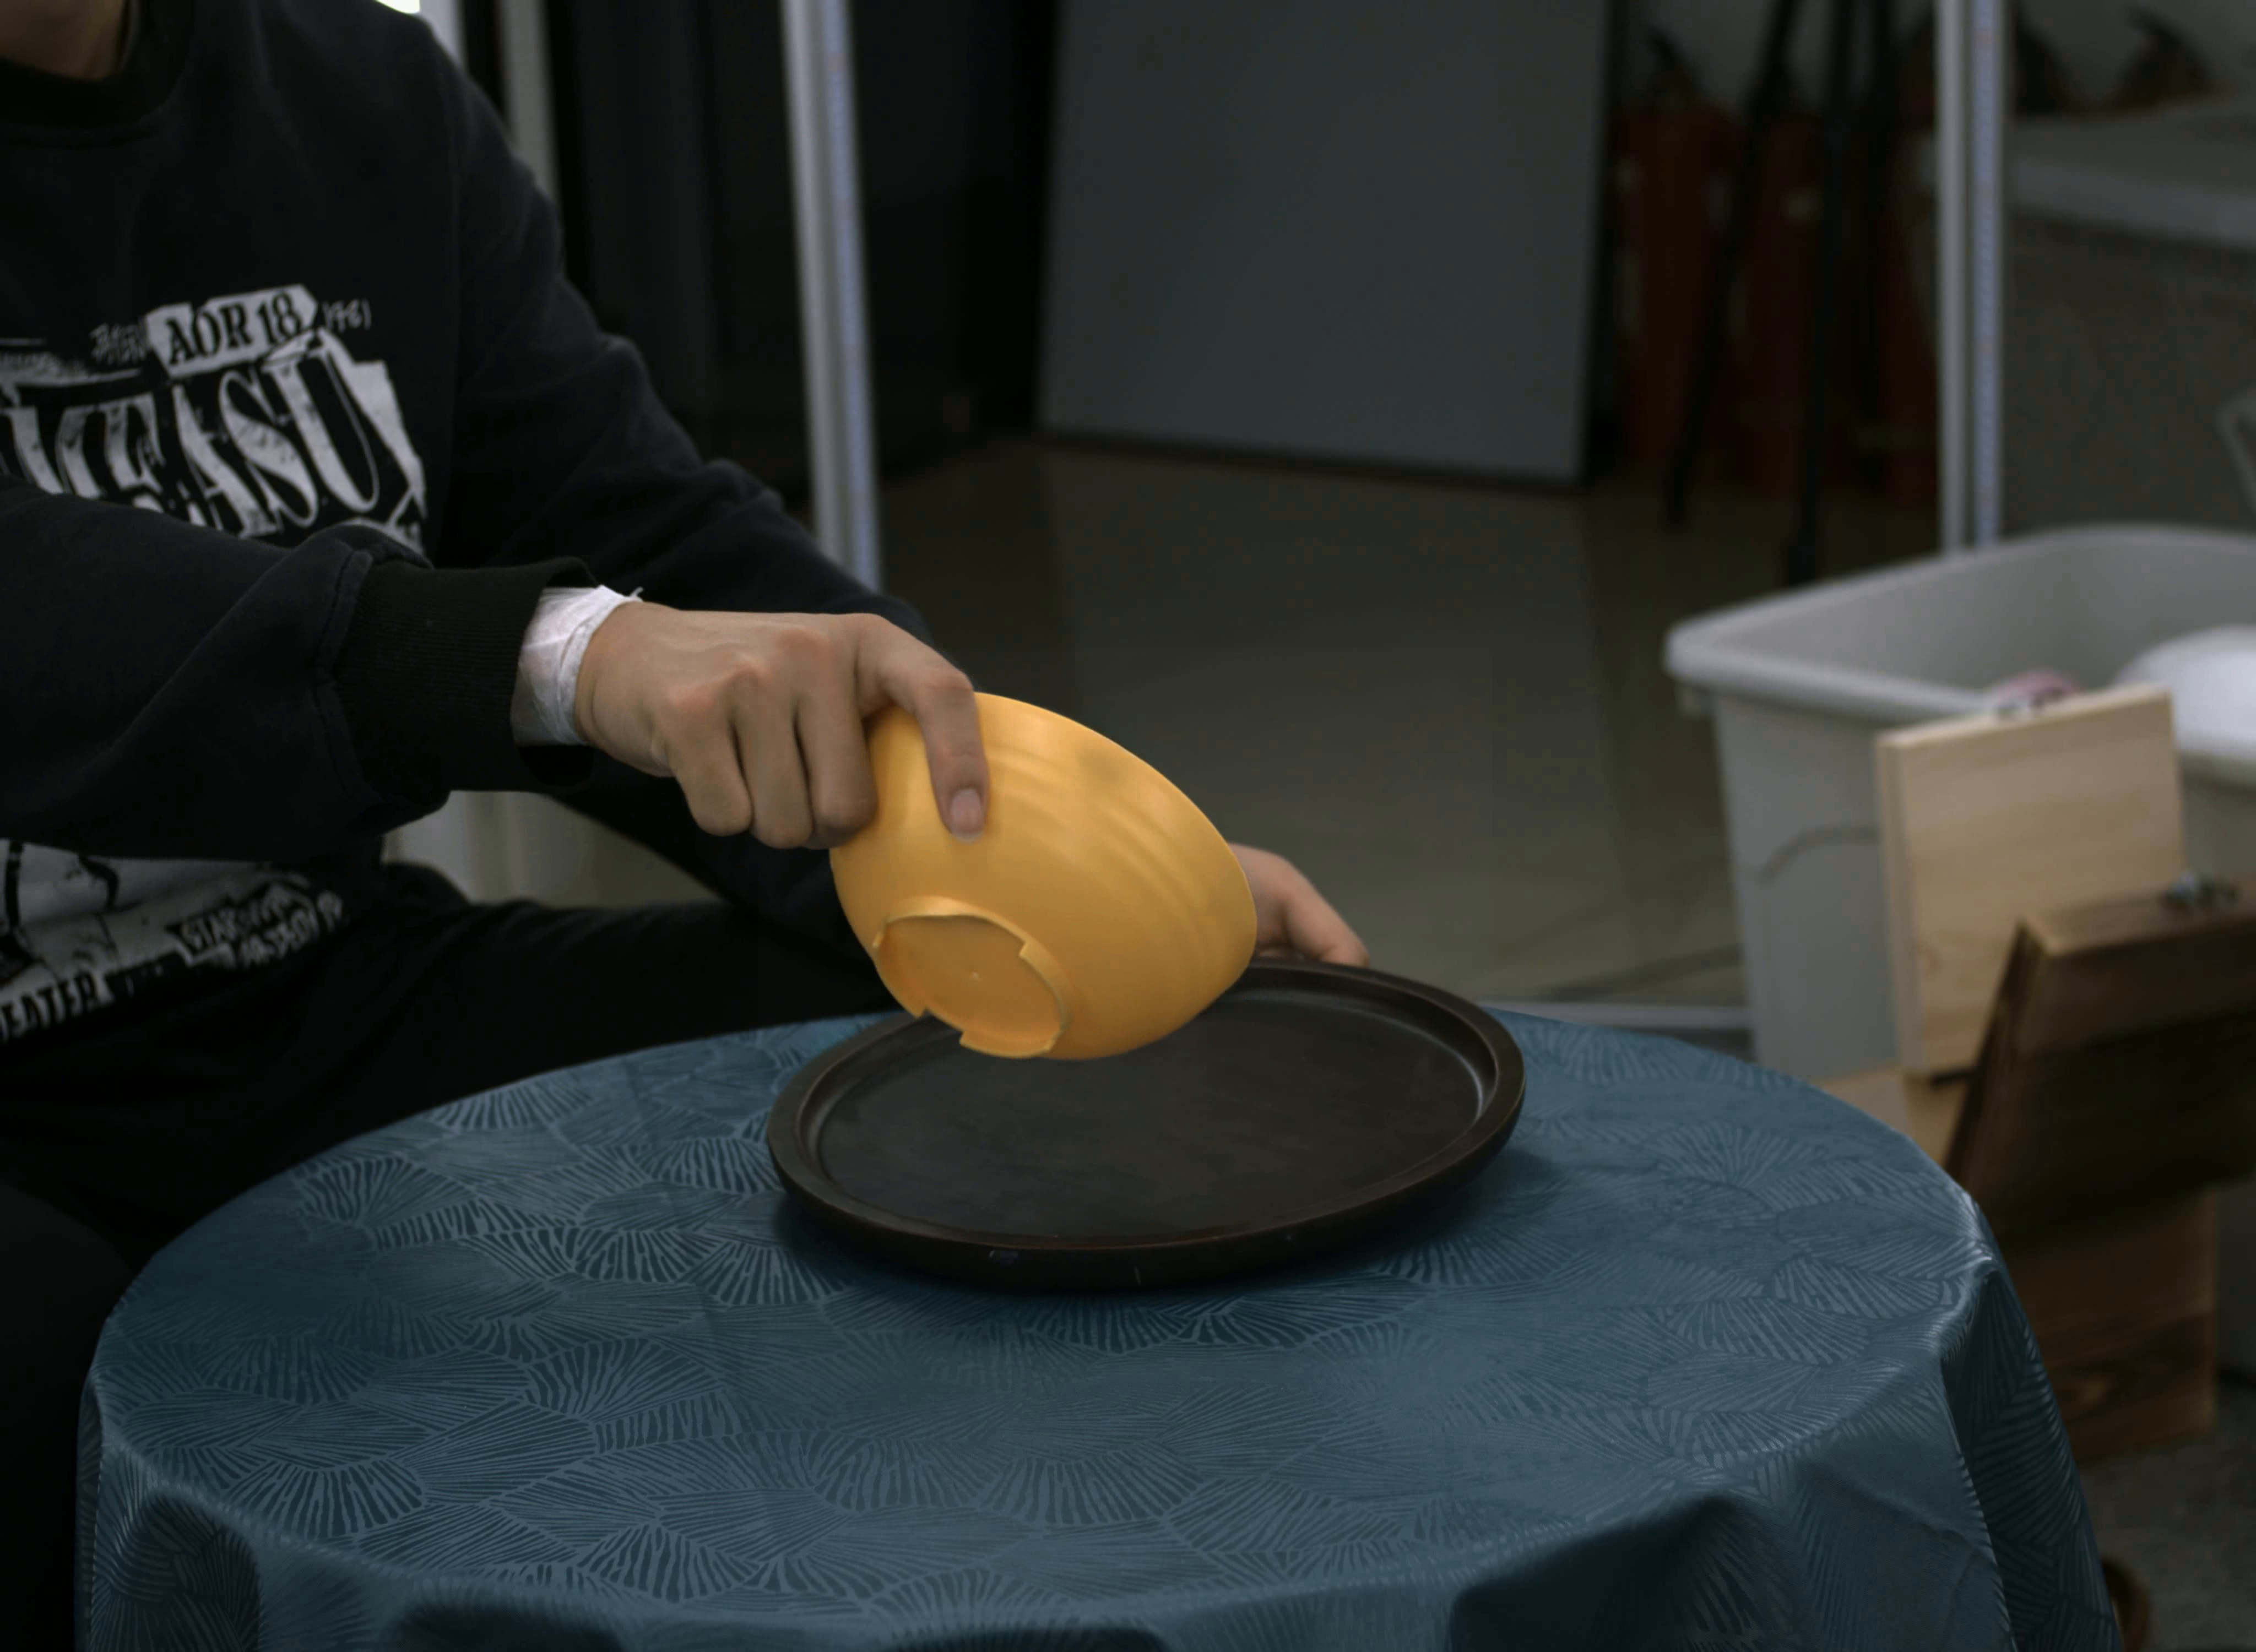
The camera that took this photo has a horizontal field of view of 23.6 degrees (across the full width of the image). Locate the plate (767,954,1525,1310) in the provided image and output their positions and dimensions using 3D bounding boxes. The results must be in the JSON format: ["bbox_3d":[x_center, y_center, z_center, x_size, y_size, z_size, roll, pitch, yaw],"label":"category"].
[{"bbox_3d":[0.007,0.098,1.776,0.252,0.029,0.255,-8,19,2],"label":"plate"}]

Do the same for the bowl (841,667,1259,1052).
[{"bbox_3d":[-0.035,0.024,1.664,0.146,0.145,0.060,7,48,36],"label":"bowl"}]
